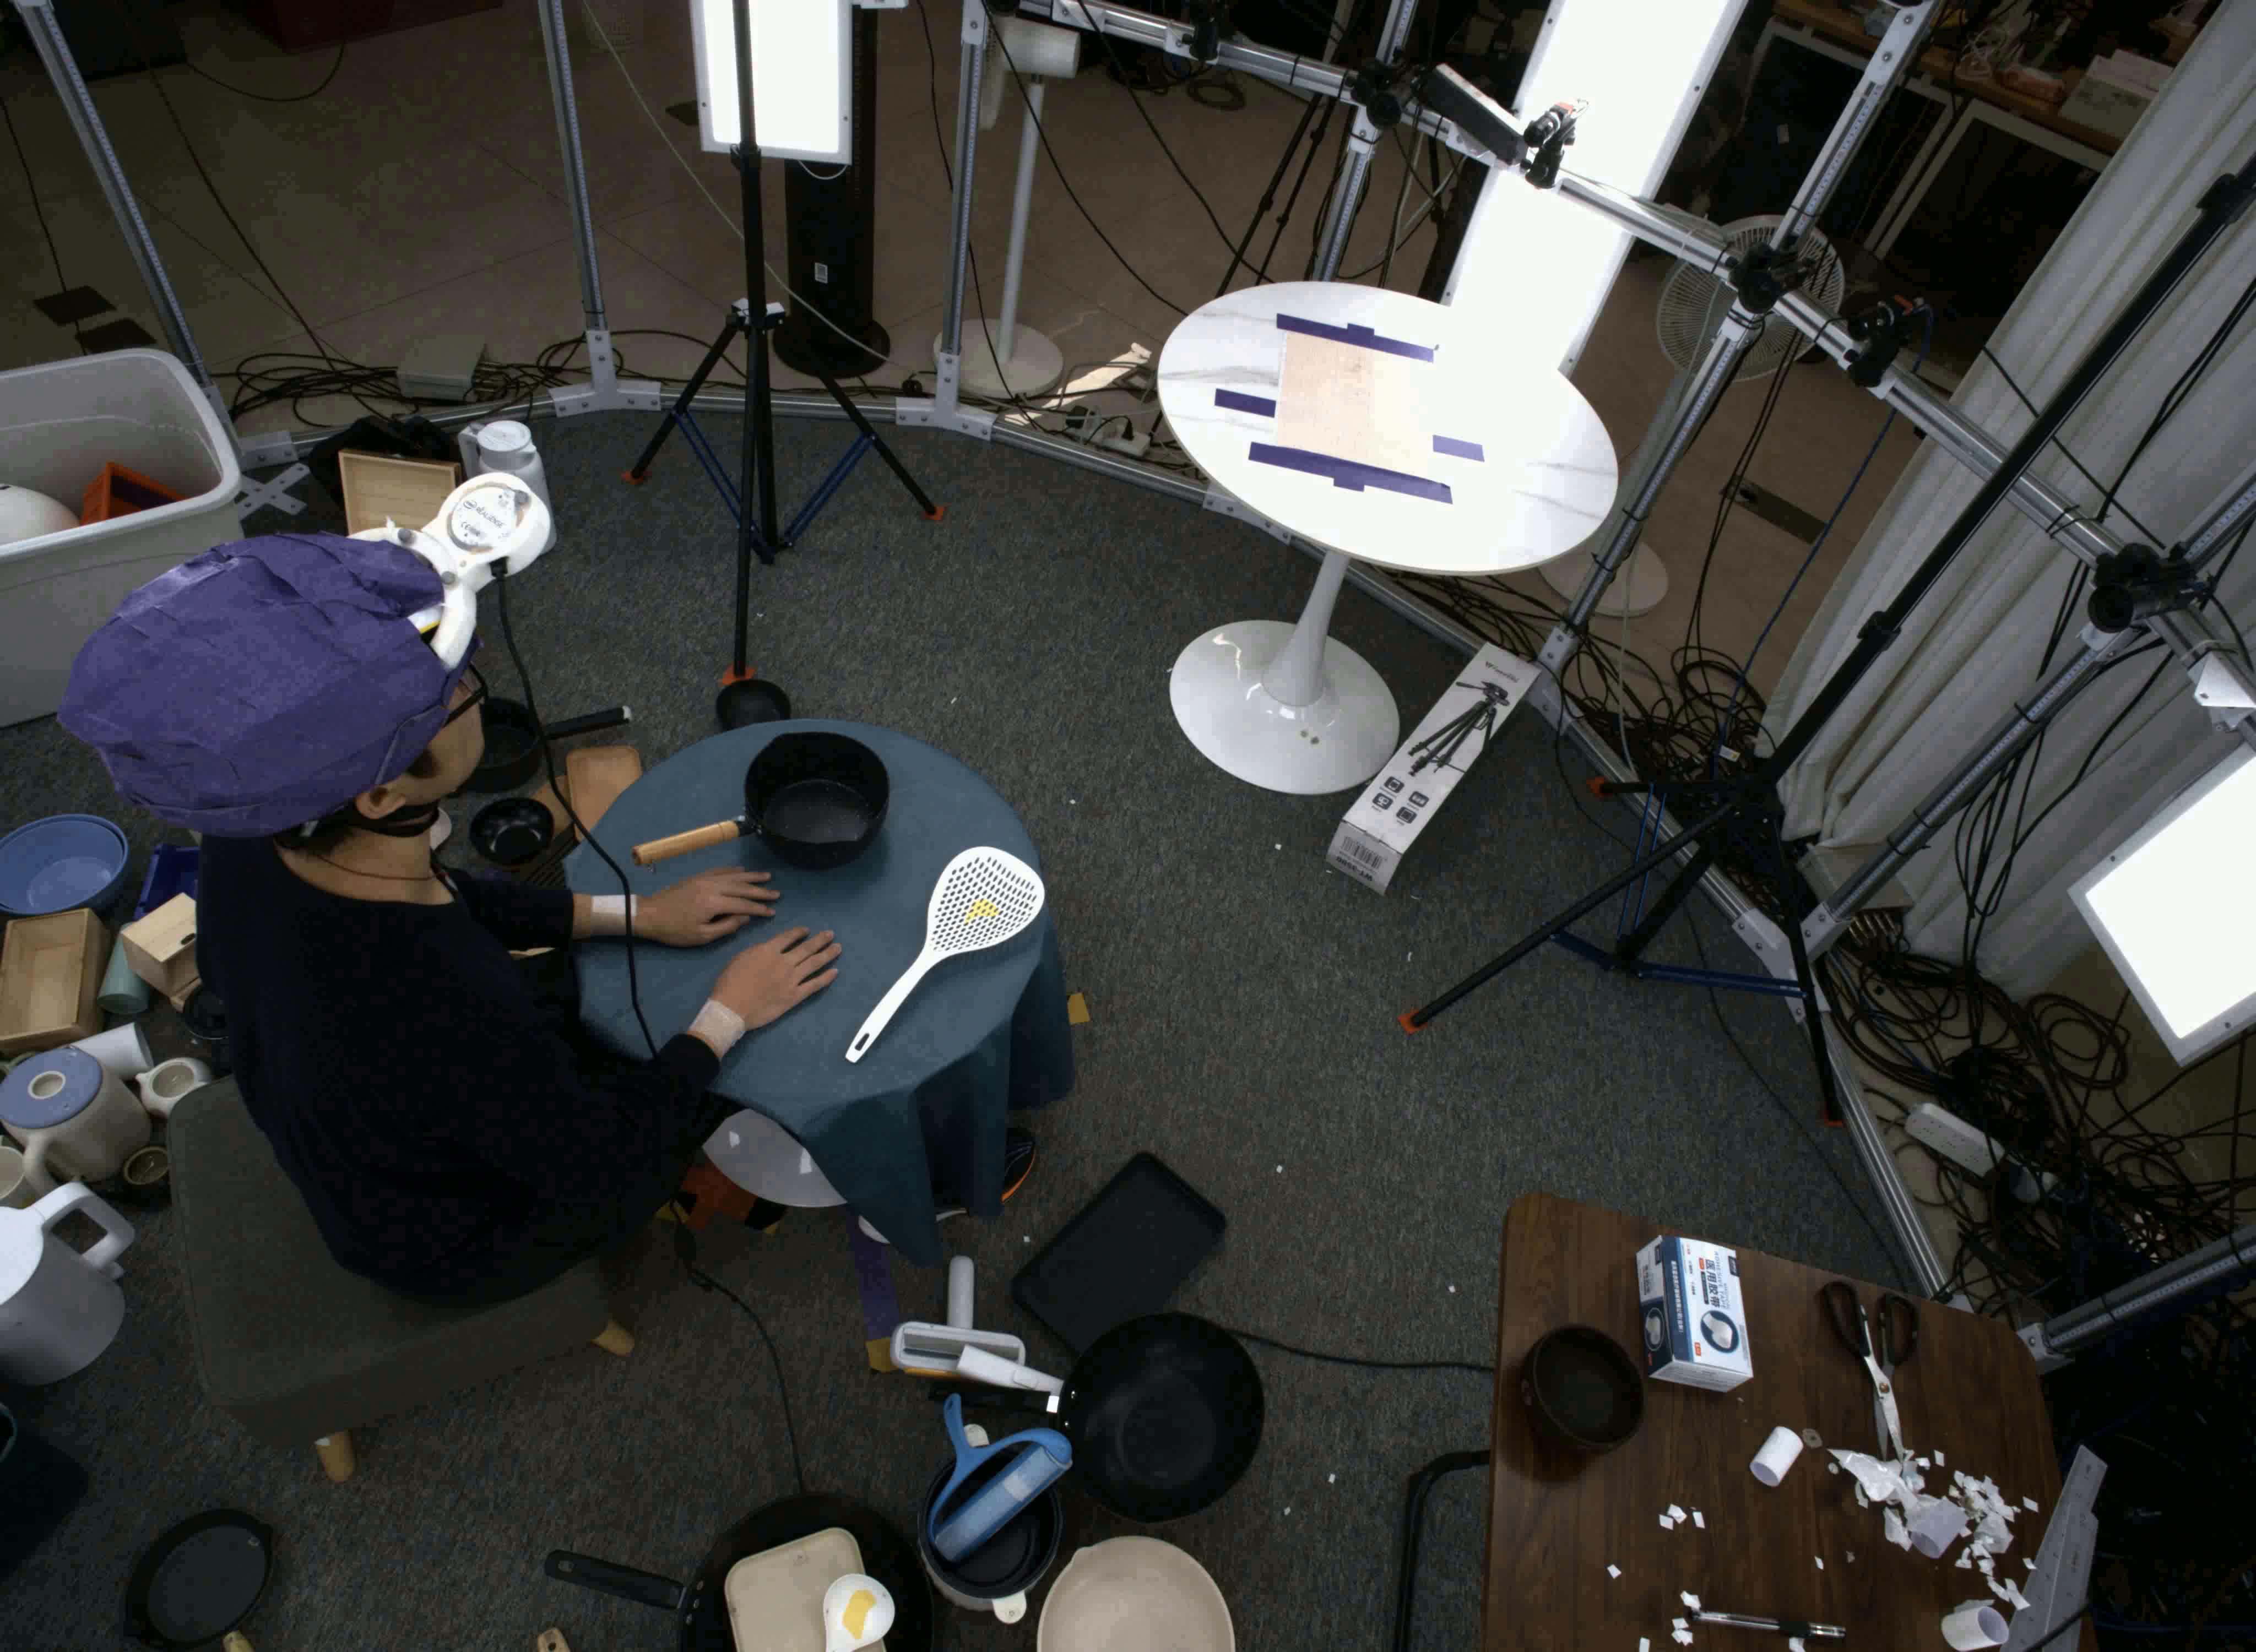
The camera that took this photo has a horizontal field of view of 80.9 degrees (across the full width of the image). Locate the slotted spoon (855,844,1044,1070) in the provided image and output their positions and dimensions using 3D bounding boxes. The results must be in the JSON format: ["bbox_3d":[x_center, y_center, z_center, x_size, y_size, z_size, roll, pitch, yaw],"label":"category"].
[{"bbox_3d":[-0.235,0.158,1.618,0.135,0.051,0.347,32,51,8],"label":"slotted spoon"}]

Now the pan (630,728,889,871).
[{"bbox_3d":[-0.464,-0.003,1.636,0.344,0.110,0.203,-28,66,-32],"label":"pan"}]
